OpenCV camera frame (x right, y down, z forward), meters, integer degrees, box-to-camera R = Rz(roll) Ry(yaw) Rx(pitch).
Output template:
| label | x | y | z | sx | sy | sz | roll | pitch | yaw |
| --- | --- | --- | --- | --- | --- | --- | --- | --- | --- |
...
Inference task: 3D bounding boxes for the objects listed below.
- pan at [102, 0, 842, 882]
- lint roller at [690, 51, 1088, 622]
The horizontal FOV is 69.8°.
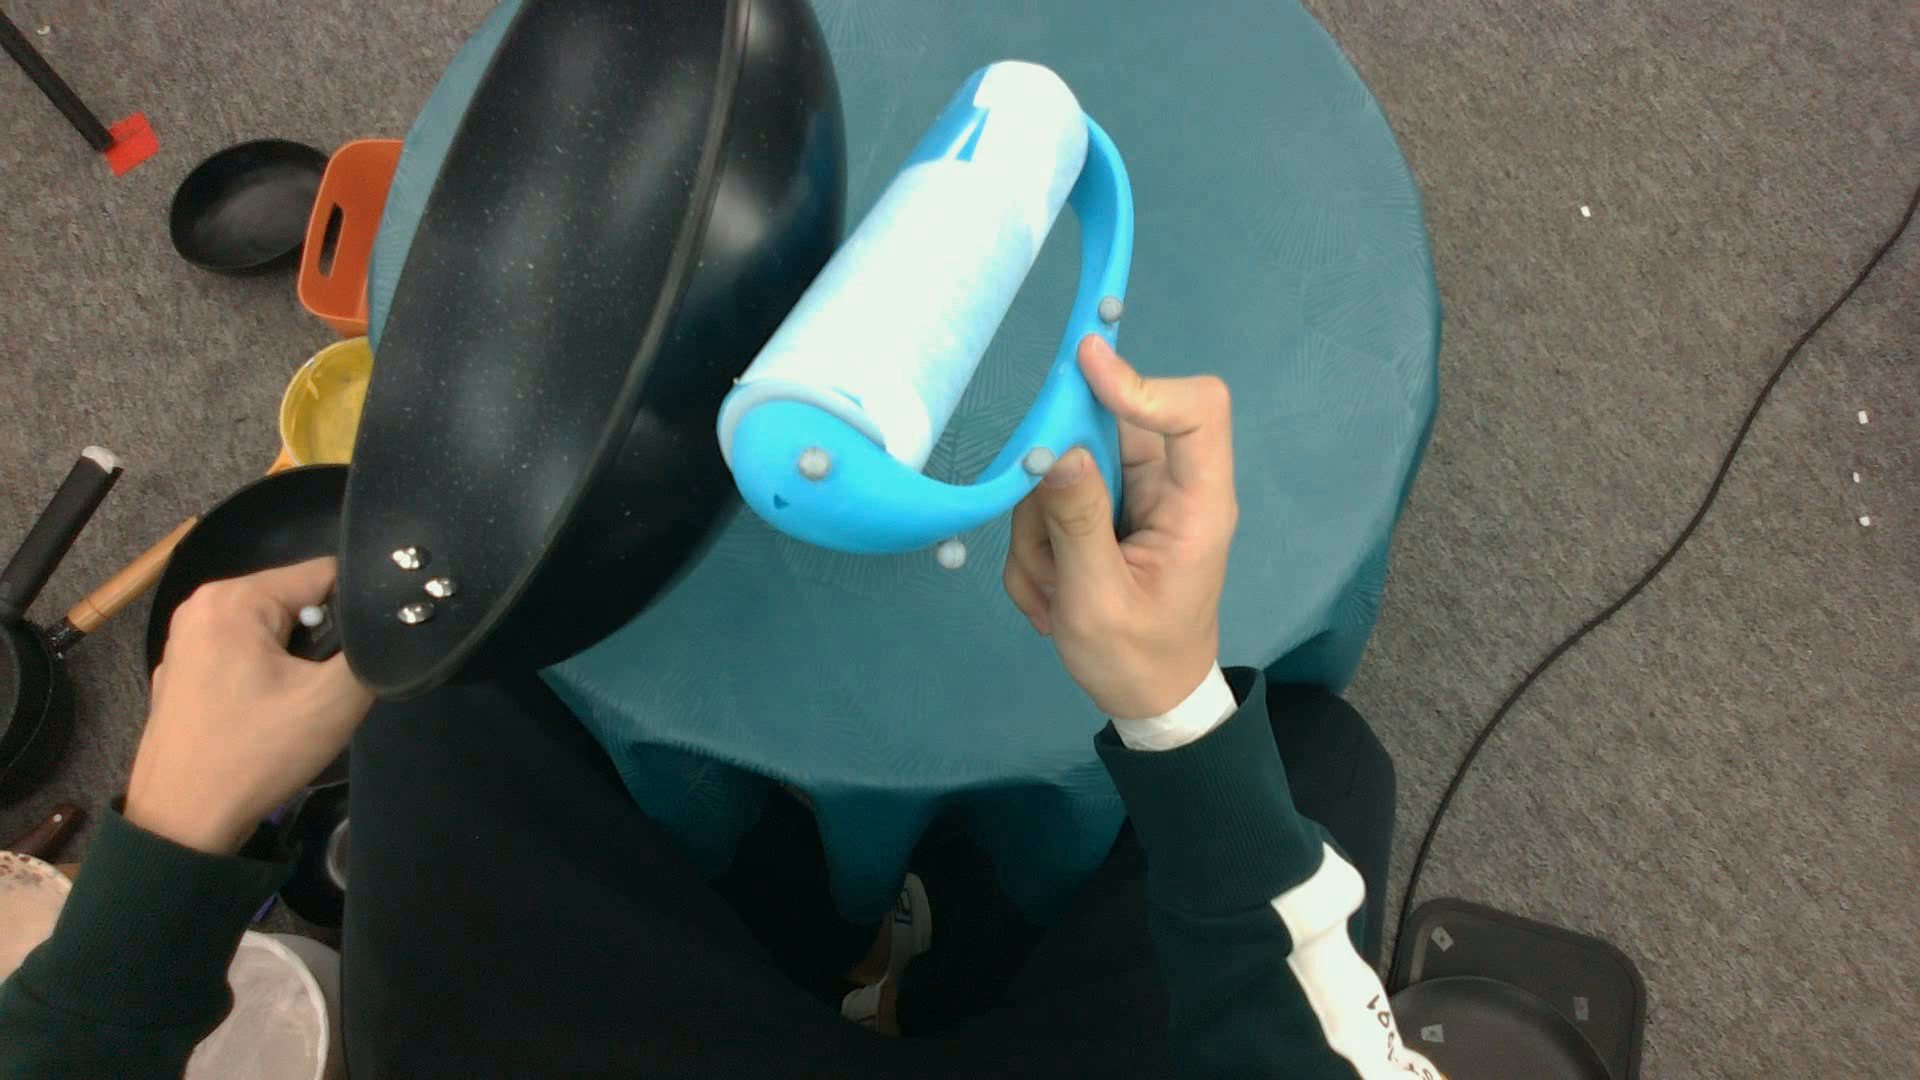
| label | x | y | z | sx | sy | sz | roll | pitch | yaw |
| --- | --- | --- | --- | --- | --- | --- | --- | --- | --- |
| pan | -0.186 | -0.029 | 0.530 | 0.475 | 0.112 | 0.311 | -54 | 37 | 19 |
| lint roller | 0.009 | -0.045 | 0.457 | 0.067 | 0.180 | 0.230 | -17 | 38 | 30 |
